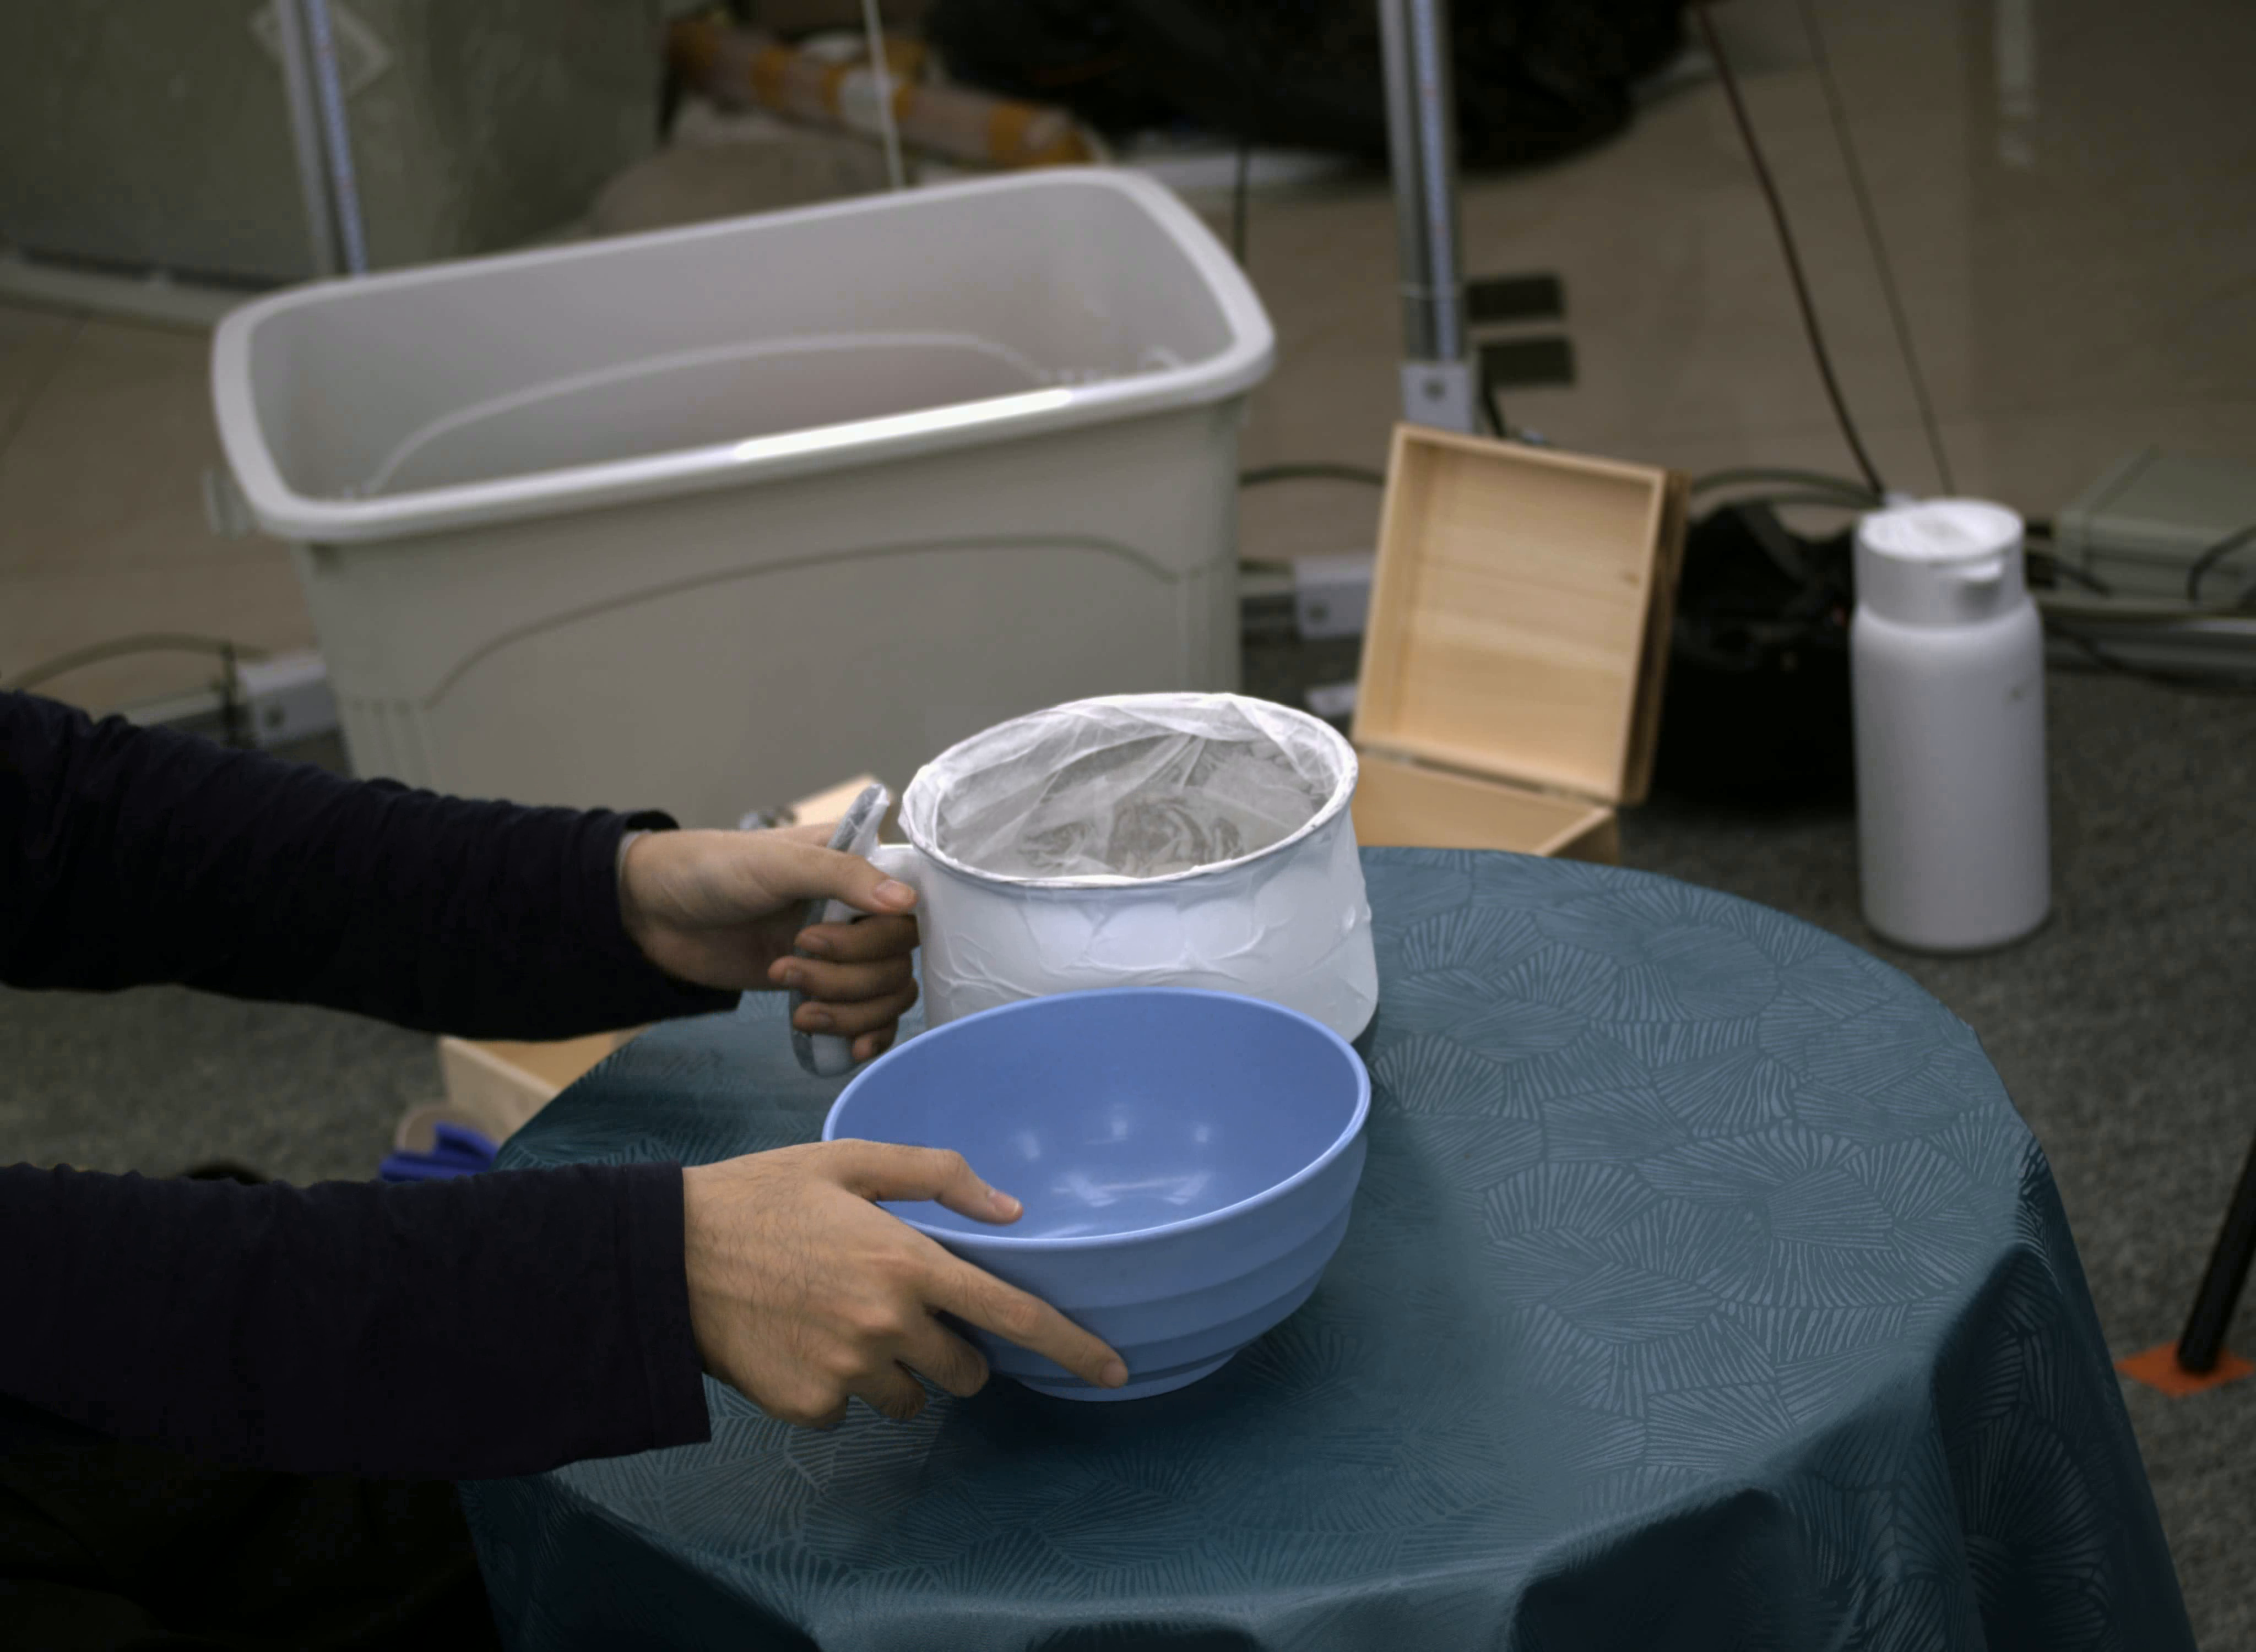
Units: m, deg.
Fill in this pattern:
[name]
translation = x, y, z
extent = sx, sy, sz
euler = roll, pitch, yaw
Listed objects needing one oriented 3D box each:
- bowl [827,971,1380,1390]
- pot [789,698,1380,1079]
[bowl]
translation = -0.007, 0.138, 2.031
extent = 0.196, 0.097, 0.193
euler = -2, 27, 1
[pot]
translation = -0.020, 0.043, 2.198
extent = 0.233, 0.138, 0.176
euler = -3, 23, 7
